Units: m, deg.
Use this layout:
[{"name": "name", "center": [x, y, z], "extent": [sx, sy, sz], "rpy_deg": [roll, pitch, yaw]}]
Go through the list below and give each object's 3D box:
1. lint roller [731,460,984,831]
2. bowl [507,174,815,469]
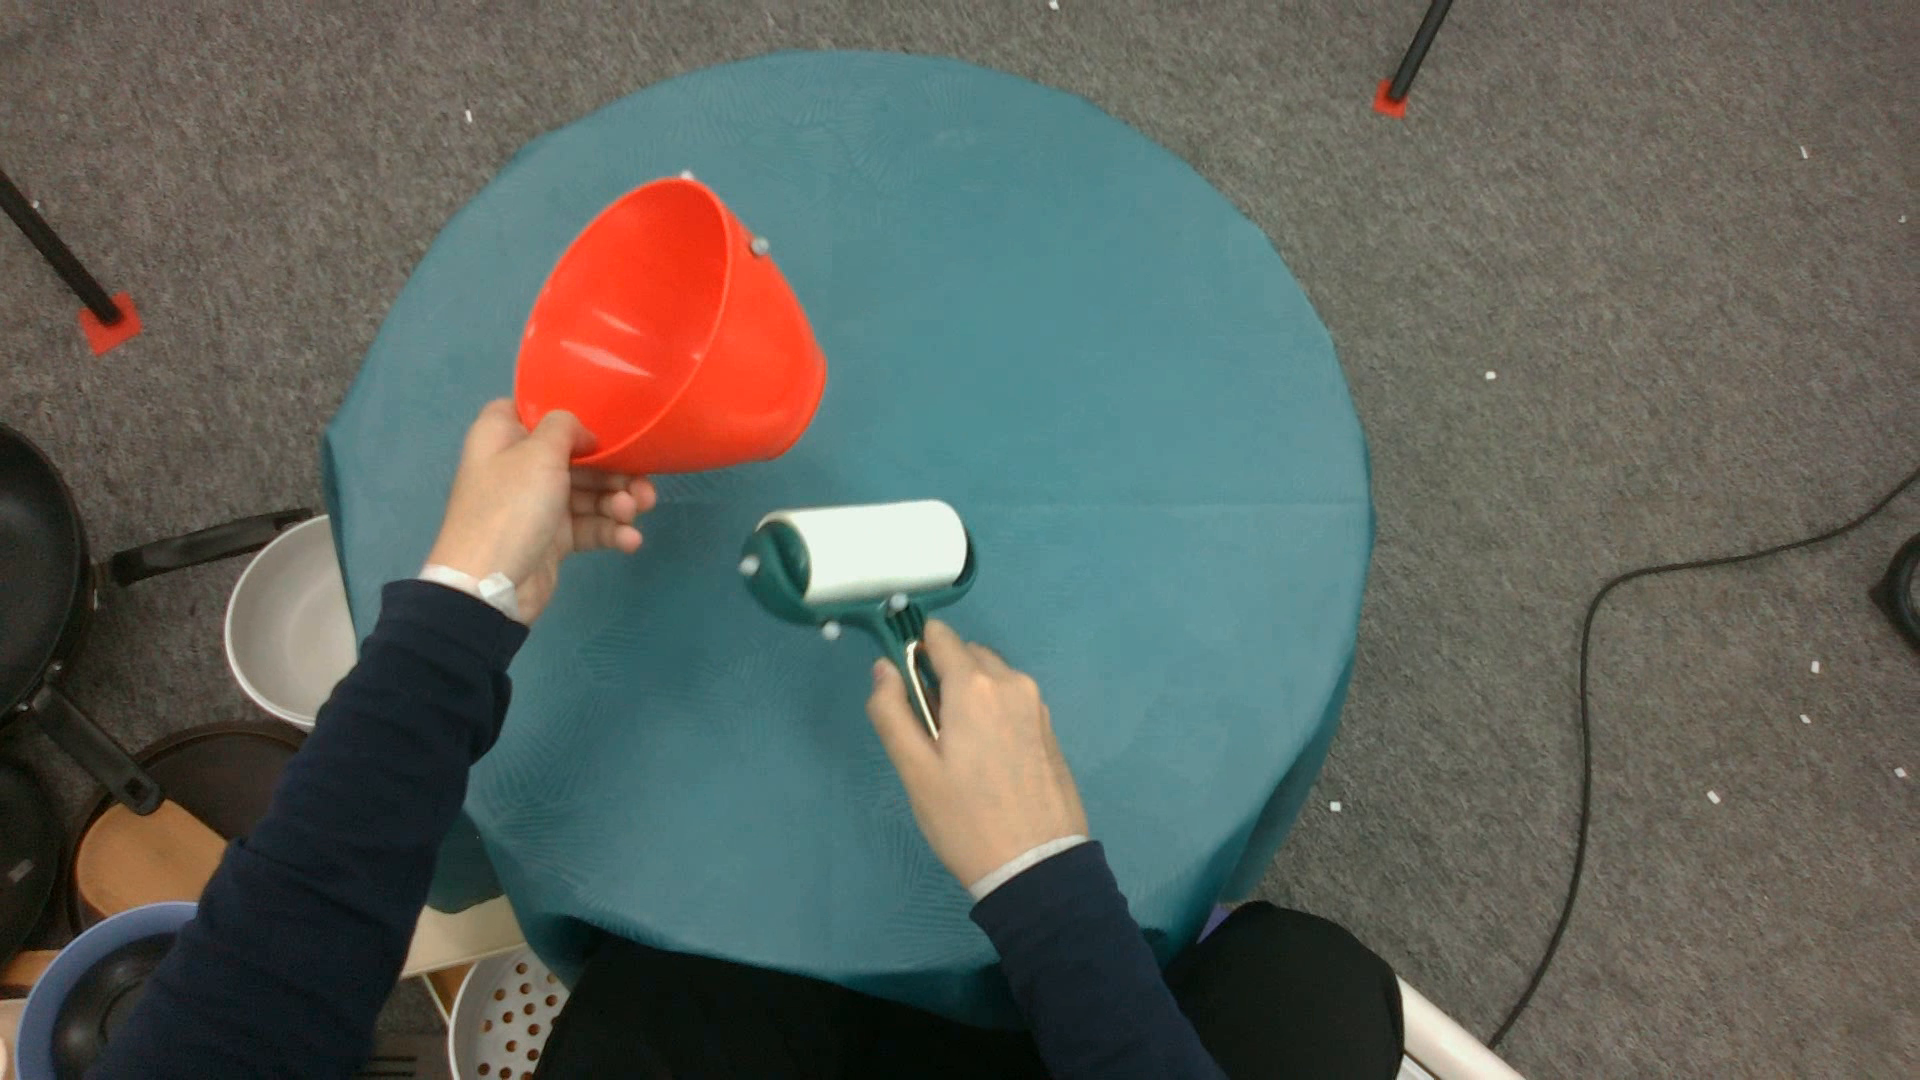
[{"name": "lint roller", "center": [-0.023, 0.044, 0.634], "extent": [0.135, 0.048, 0.180], "rpy_deg": [-6, 62, -49]}, {"name": "bowl", "center": [-0.137, -0.093, 0.673], "extent": [0.104, 0.147, 0.148], "rpy_deg": [26, 58, -39]}]
